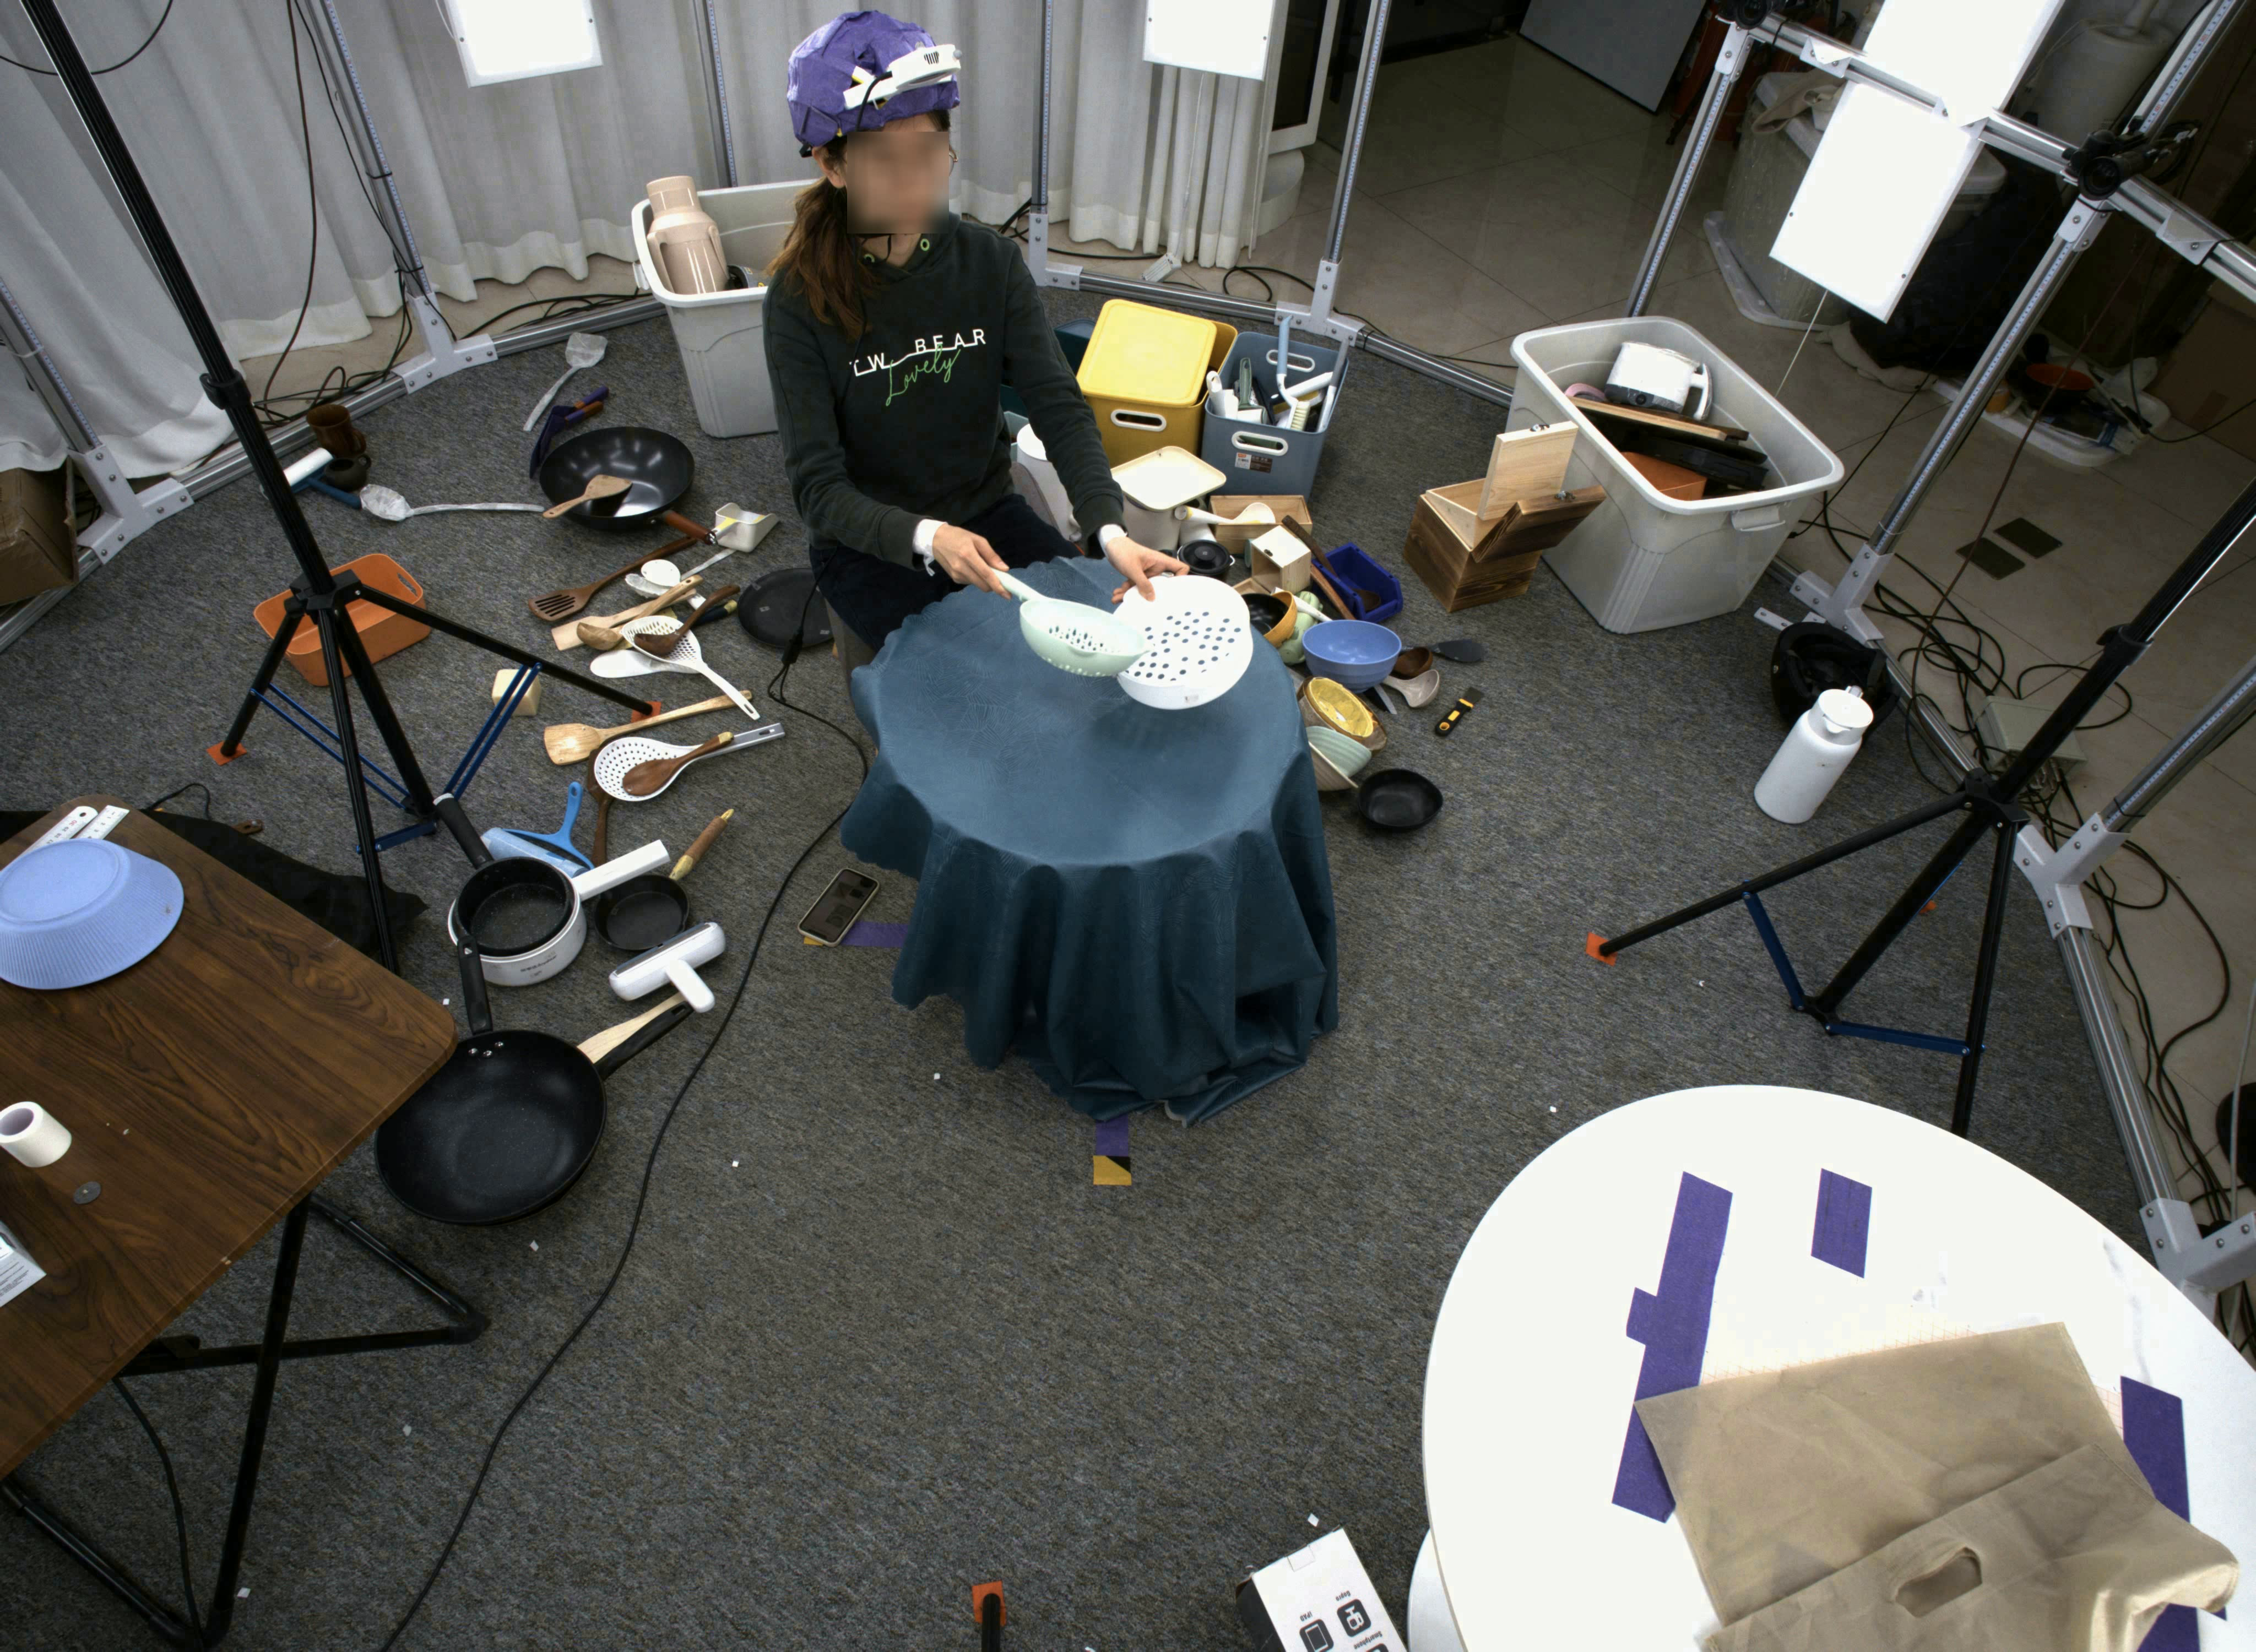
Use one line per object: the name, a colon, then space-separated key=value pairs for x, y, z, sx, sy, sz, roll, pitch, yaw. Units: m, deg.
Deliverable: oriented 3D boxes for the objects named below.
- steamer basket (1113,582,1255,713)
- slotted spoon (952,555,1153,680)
steamer basket: x=0.076 y=-0.244 z=1.764 sx=0.202 sy=0.067 sz=0.236 roll=-27 pitch=51 yaw=-9
slotted spoon: x=-0.124 y=-0.292 z=1.713 sx=0.169 sy=0.074 sz=0.365 roll=-7 pitch=42 yaw=-45
